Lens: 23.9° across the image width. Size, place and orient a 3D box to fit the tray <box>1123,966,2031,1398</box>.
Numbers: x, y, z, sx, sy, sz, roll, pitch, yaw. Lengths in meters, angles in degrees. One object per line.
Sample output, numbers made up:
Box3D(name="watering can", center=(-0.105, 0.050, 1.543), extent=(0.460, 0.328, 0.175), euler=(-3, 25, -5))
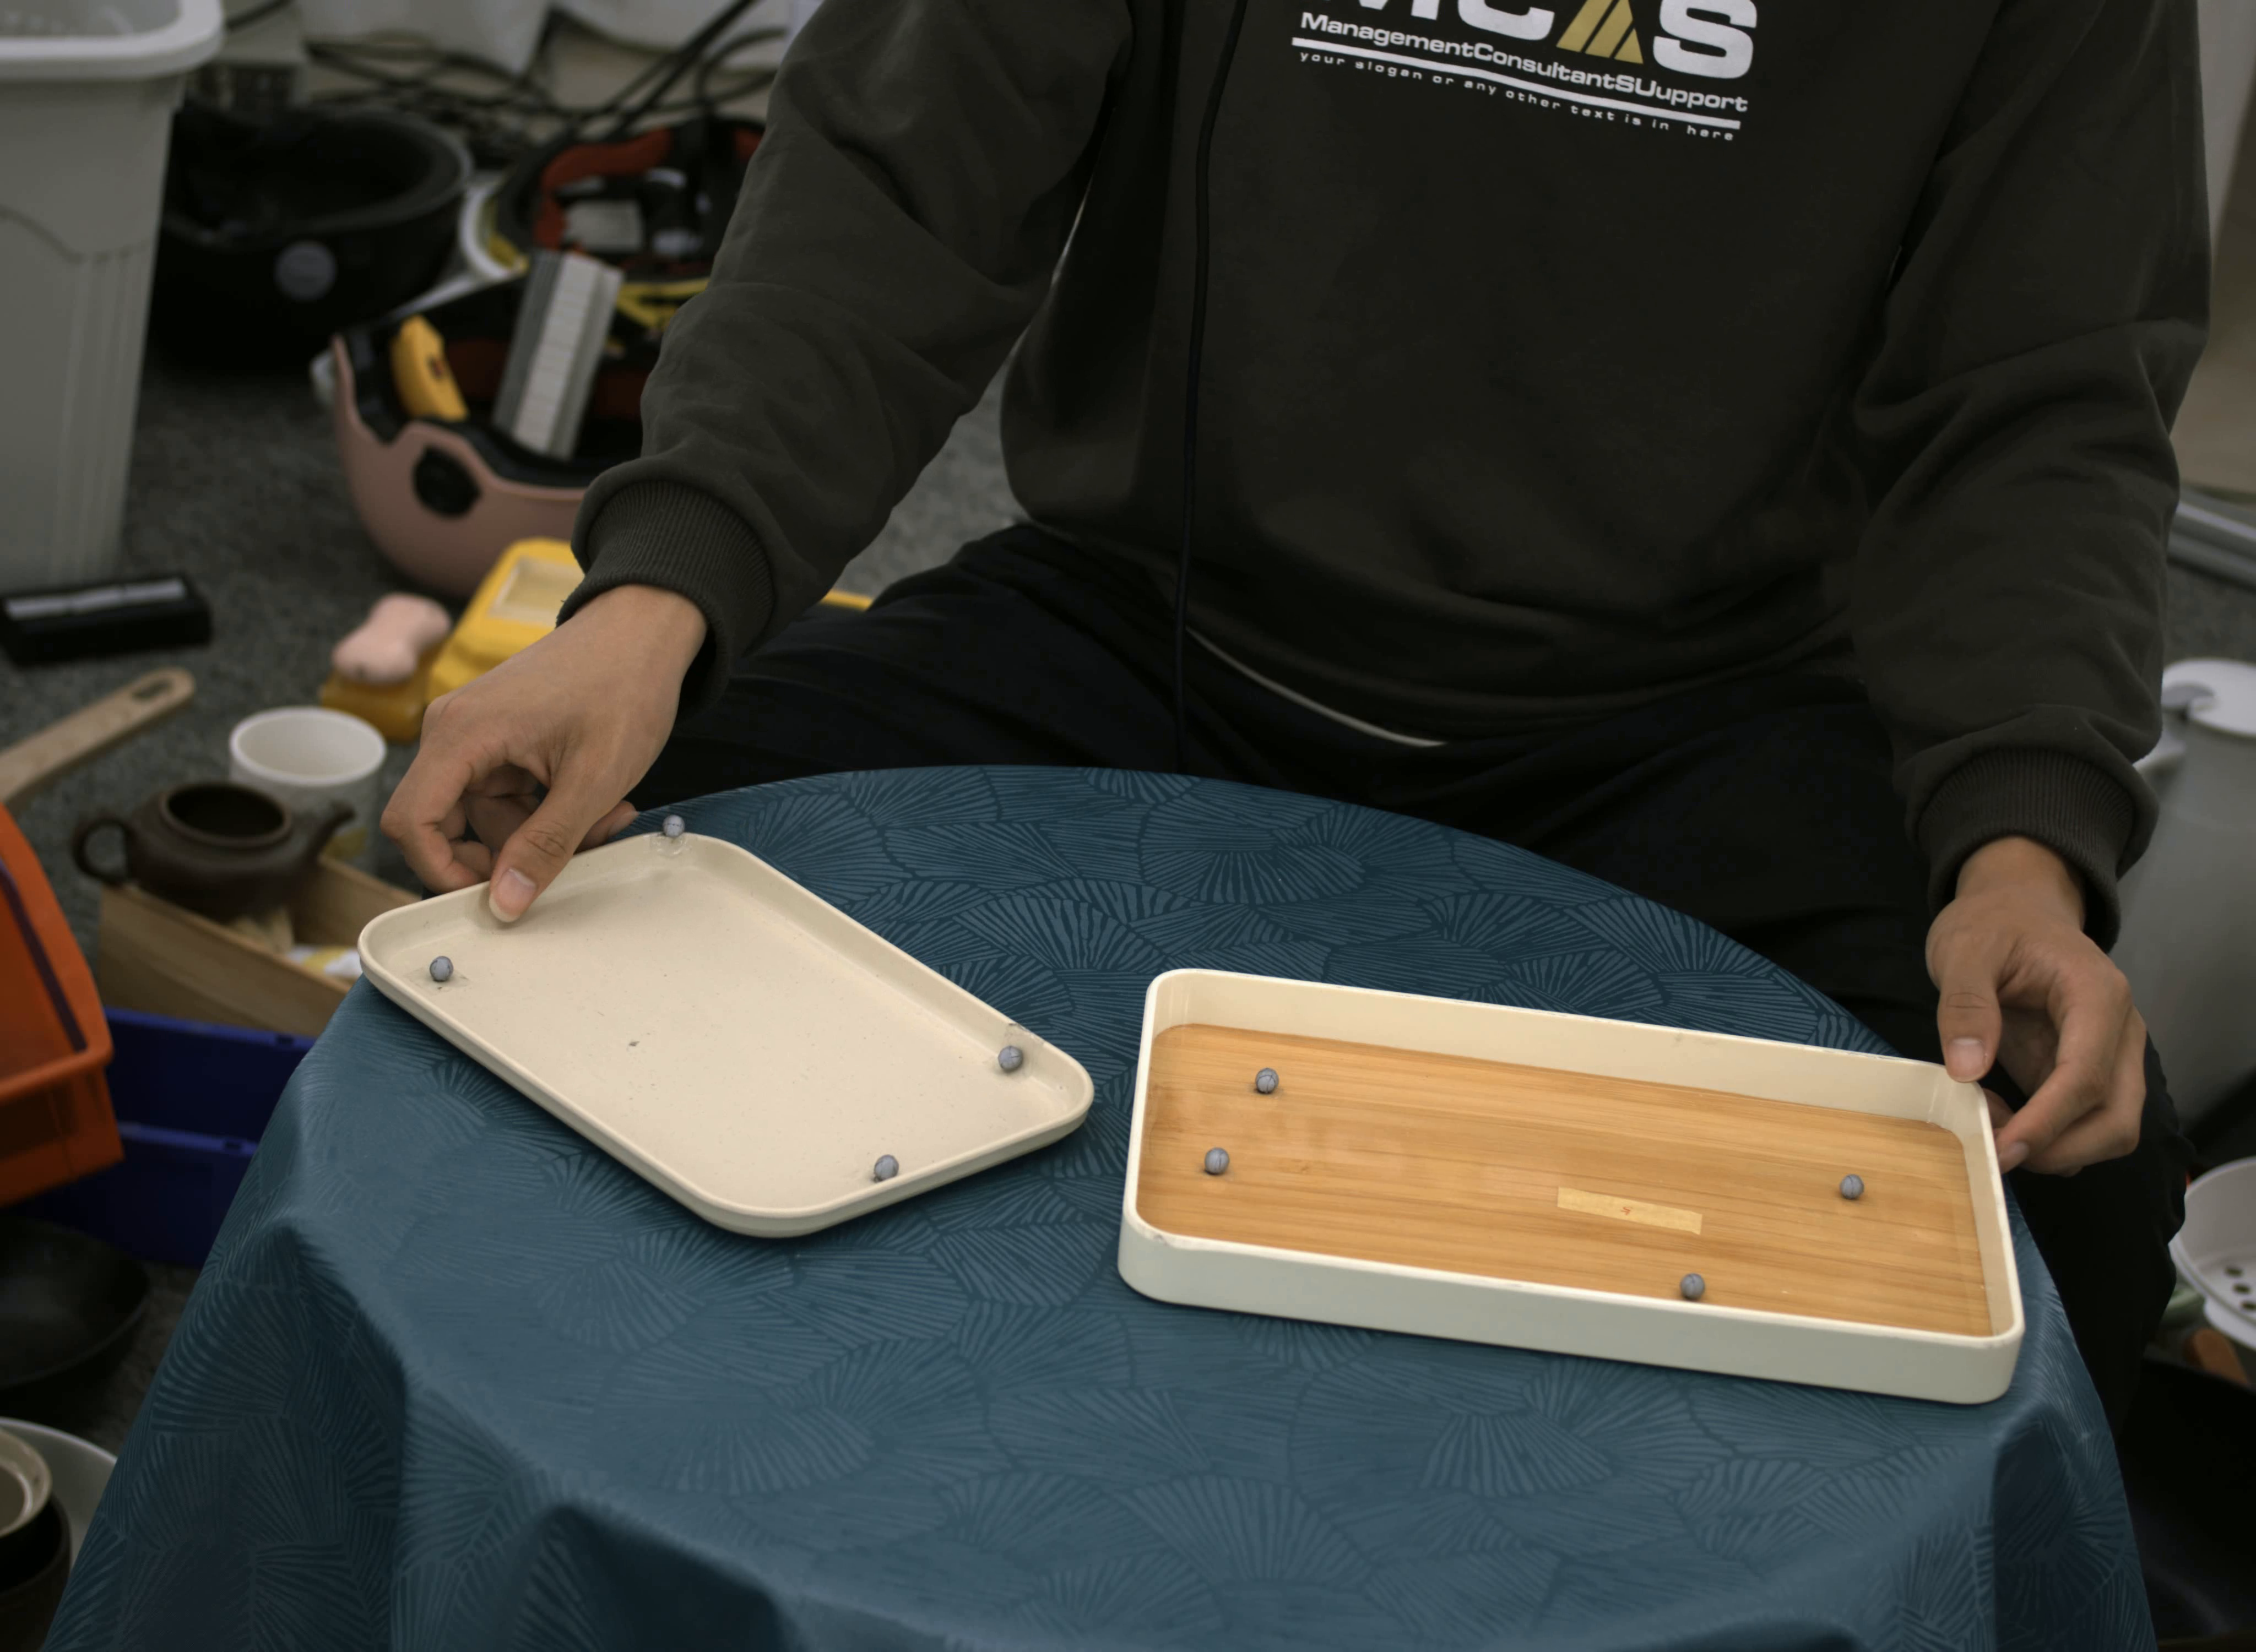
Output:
Box3D(name="tray", center=(0.151, 0.120, 1.821), extent=(0.299, 0.027, 0.192), euler=(7, 26, 0))

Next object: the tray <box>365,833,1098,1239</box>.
Box3D(name="tray", center=(-0.140, 0.071, 1.857), extent=(0.170, 0.017, 0.241), euler=(-18, 36, -40))
